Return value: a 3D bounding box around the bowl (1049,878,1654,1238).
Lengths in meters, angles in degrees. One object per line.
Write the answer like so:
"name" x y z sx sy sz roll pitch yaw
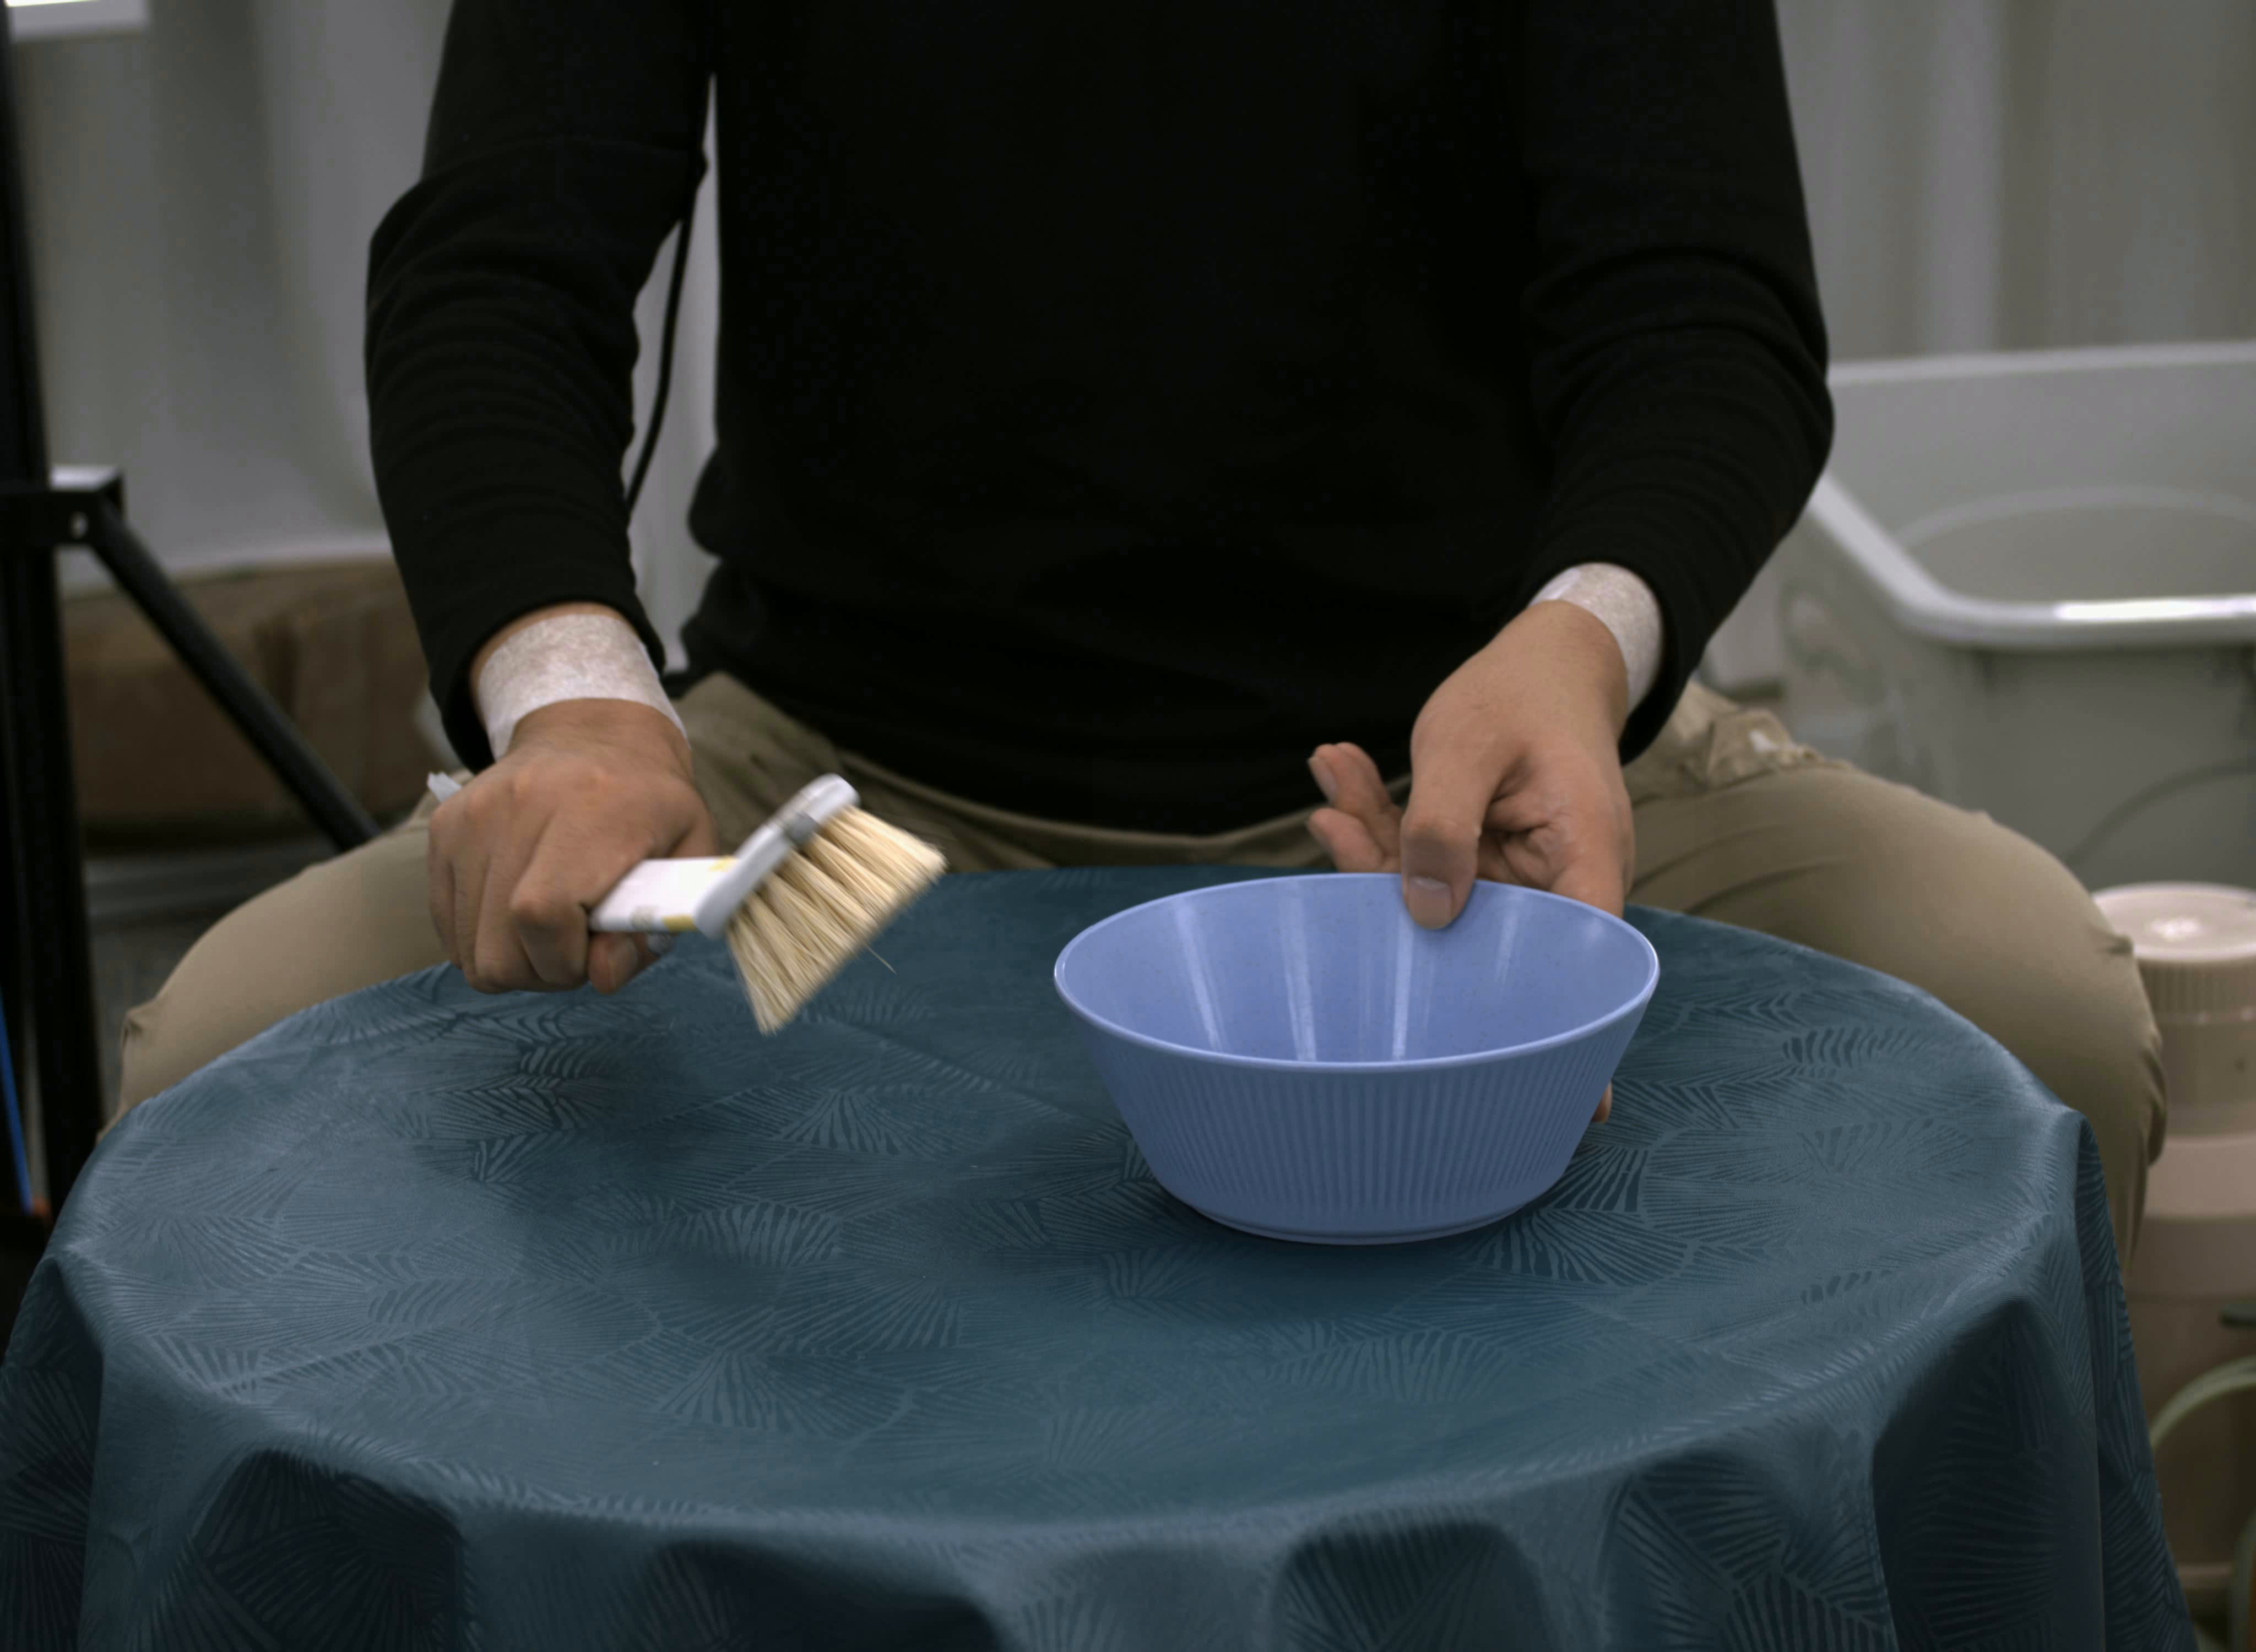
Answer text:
"bowl" 0.065 0.070 1.545 0.175 0.070 0.177 -1 16 -1

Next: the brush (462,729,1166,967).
"brush" -0.099 0.019 1.616 0.271 0.056 0.067 -11 15 41
